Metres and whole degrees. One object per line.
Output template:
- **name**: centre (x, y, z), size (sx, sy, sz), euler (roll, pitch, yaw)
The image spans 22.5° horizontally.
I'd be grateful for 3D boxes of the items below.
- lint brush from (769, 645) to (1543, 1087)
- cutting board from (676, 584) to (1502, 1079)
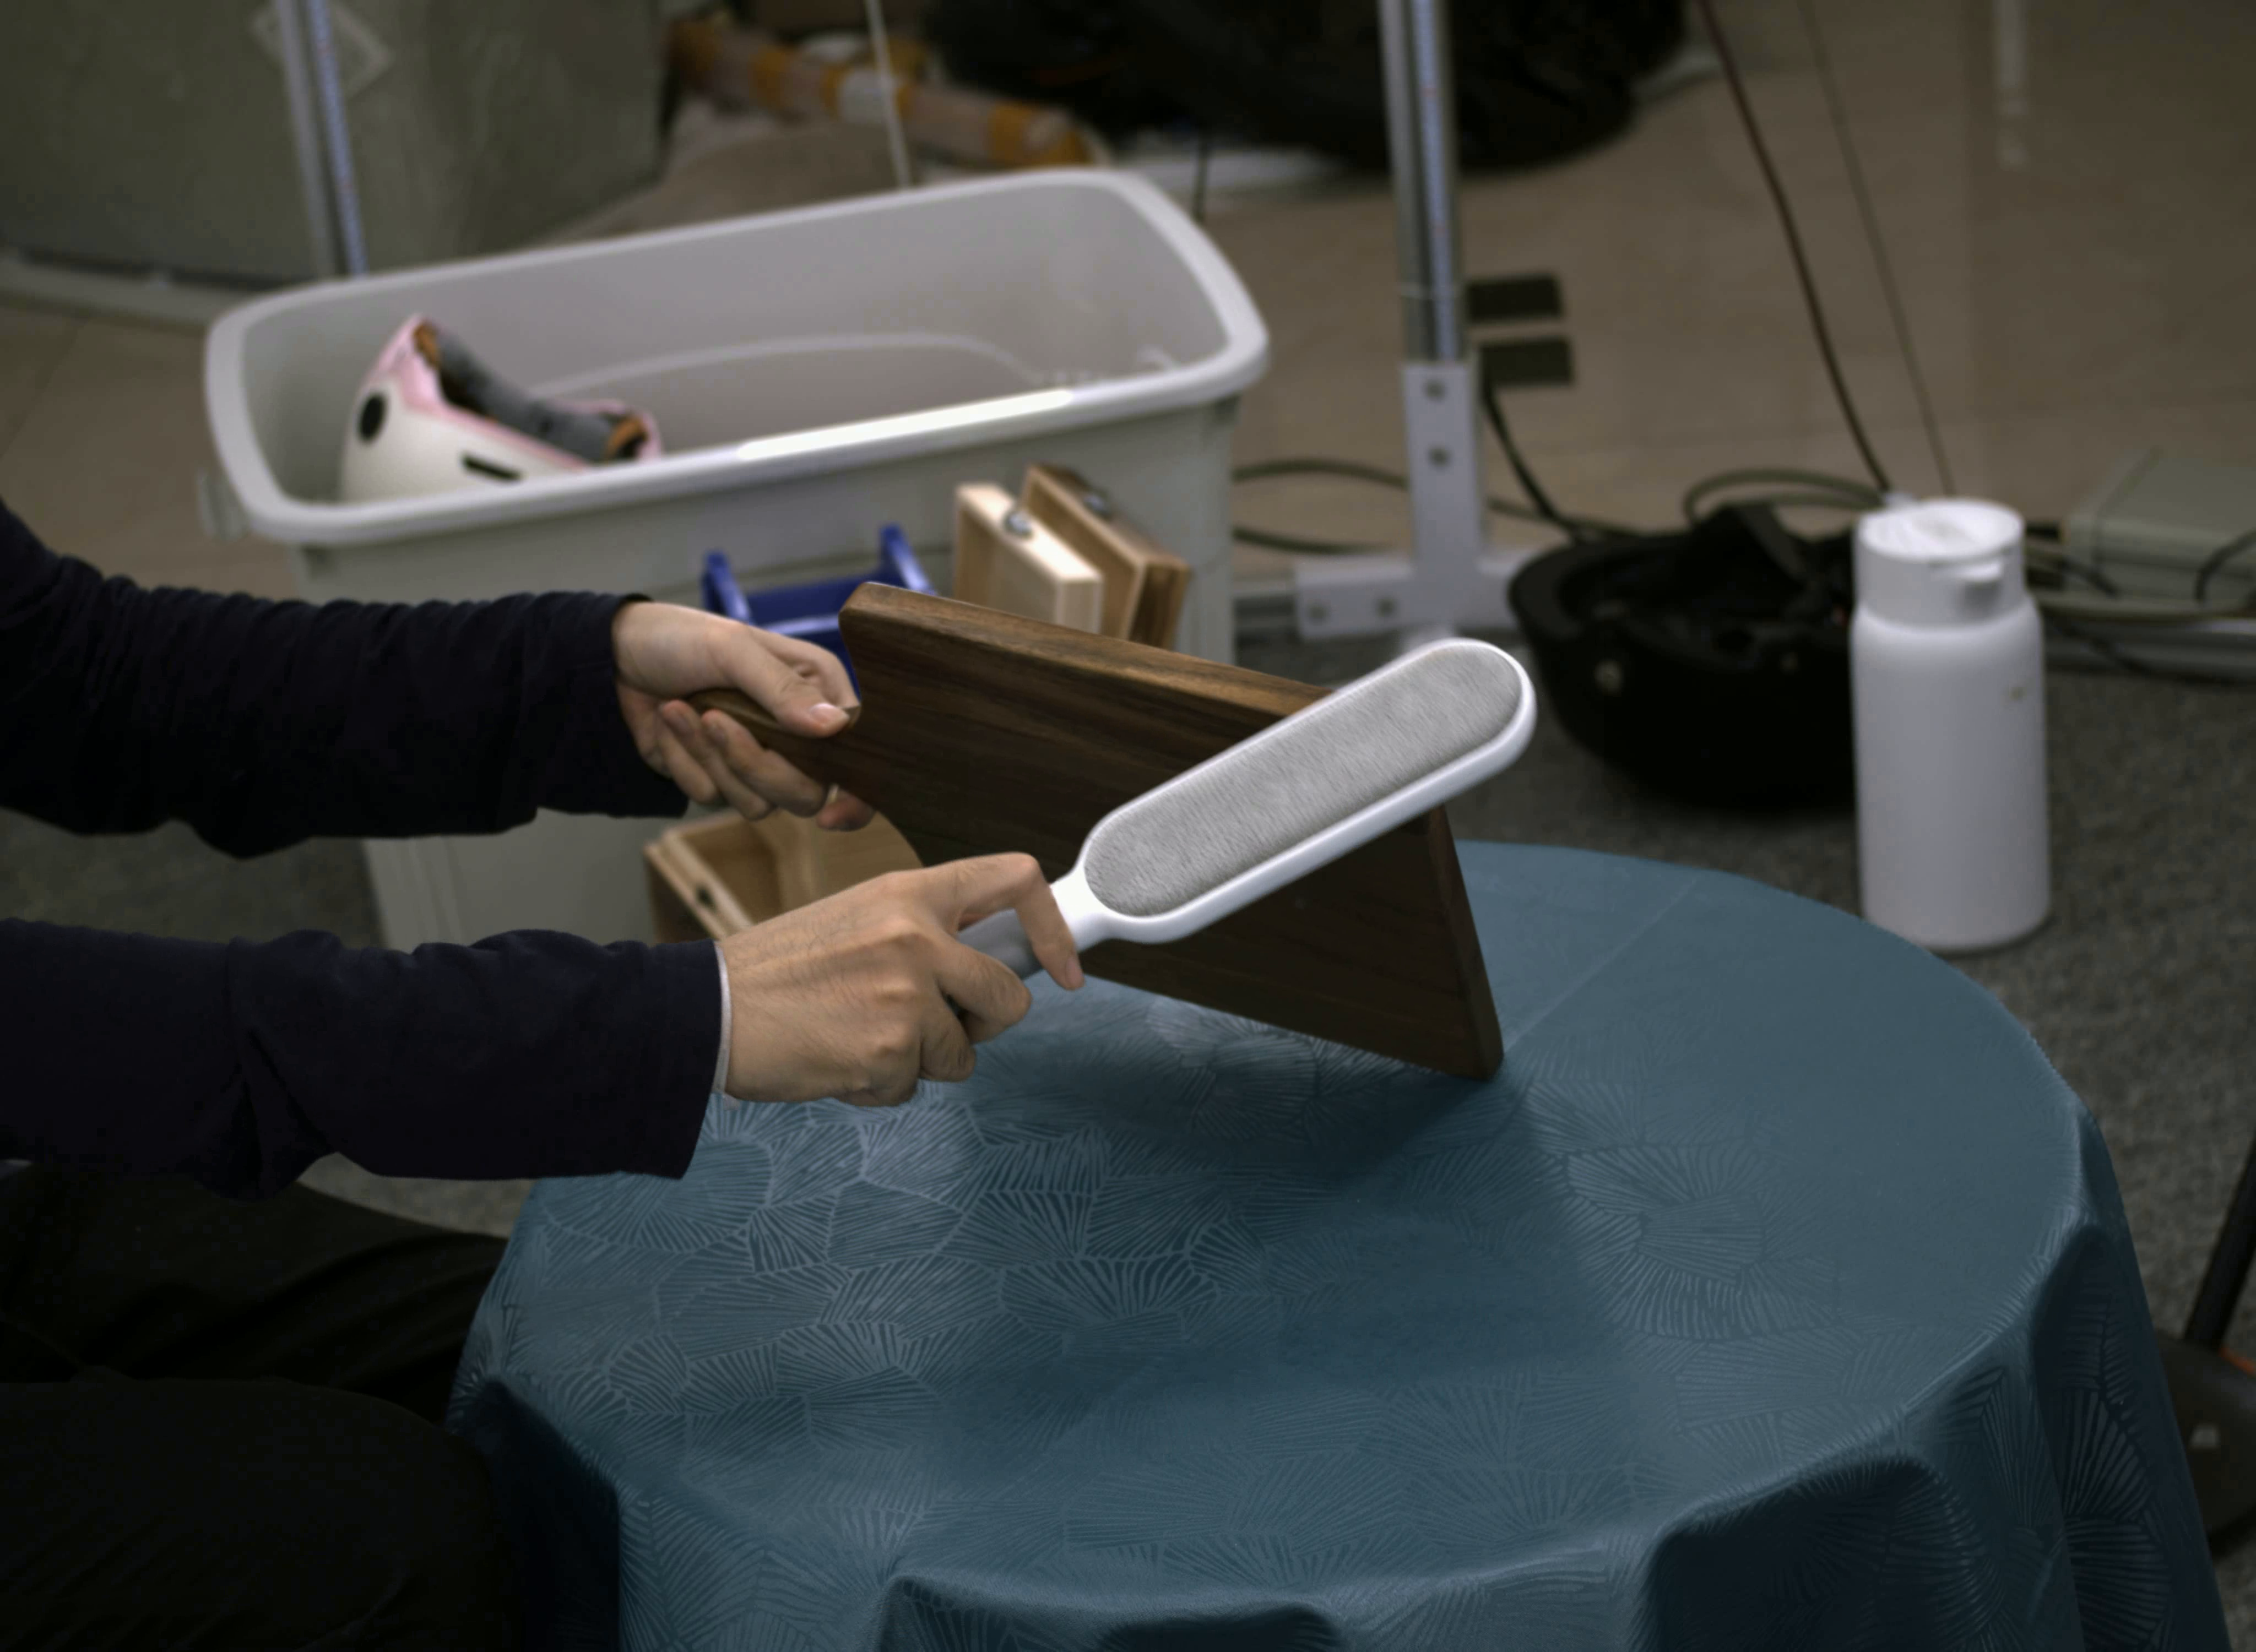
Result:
- **lint brush**: centre (0.010, 0.016, 2.039), size (0.308, 0.021, 0.059), euler (-27, 60, -4)
- **cutting board**: centre (-0.026, -0.008, 2.213), size (0.350, 0.205, 0.023), euler (14, 55, 27)
